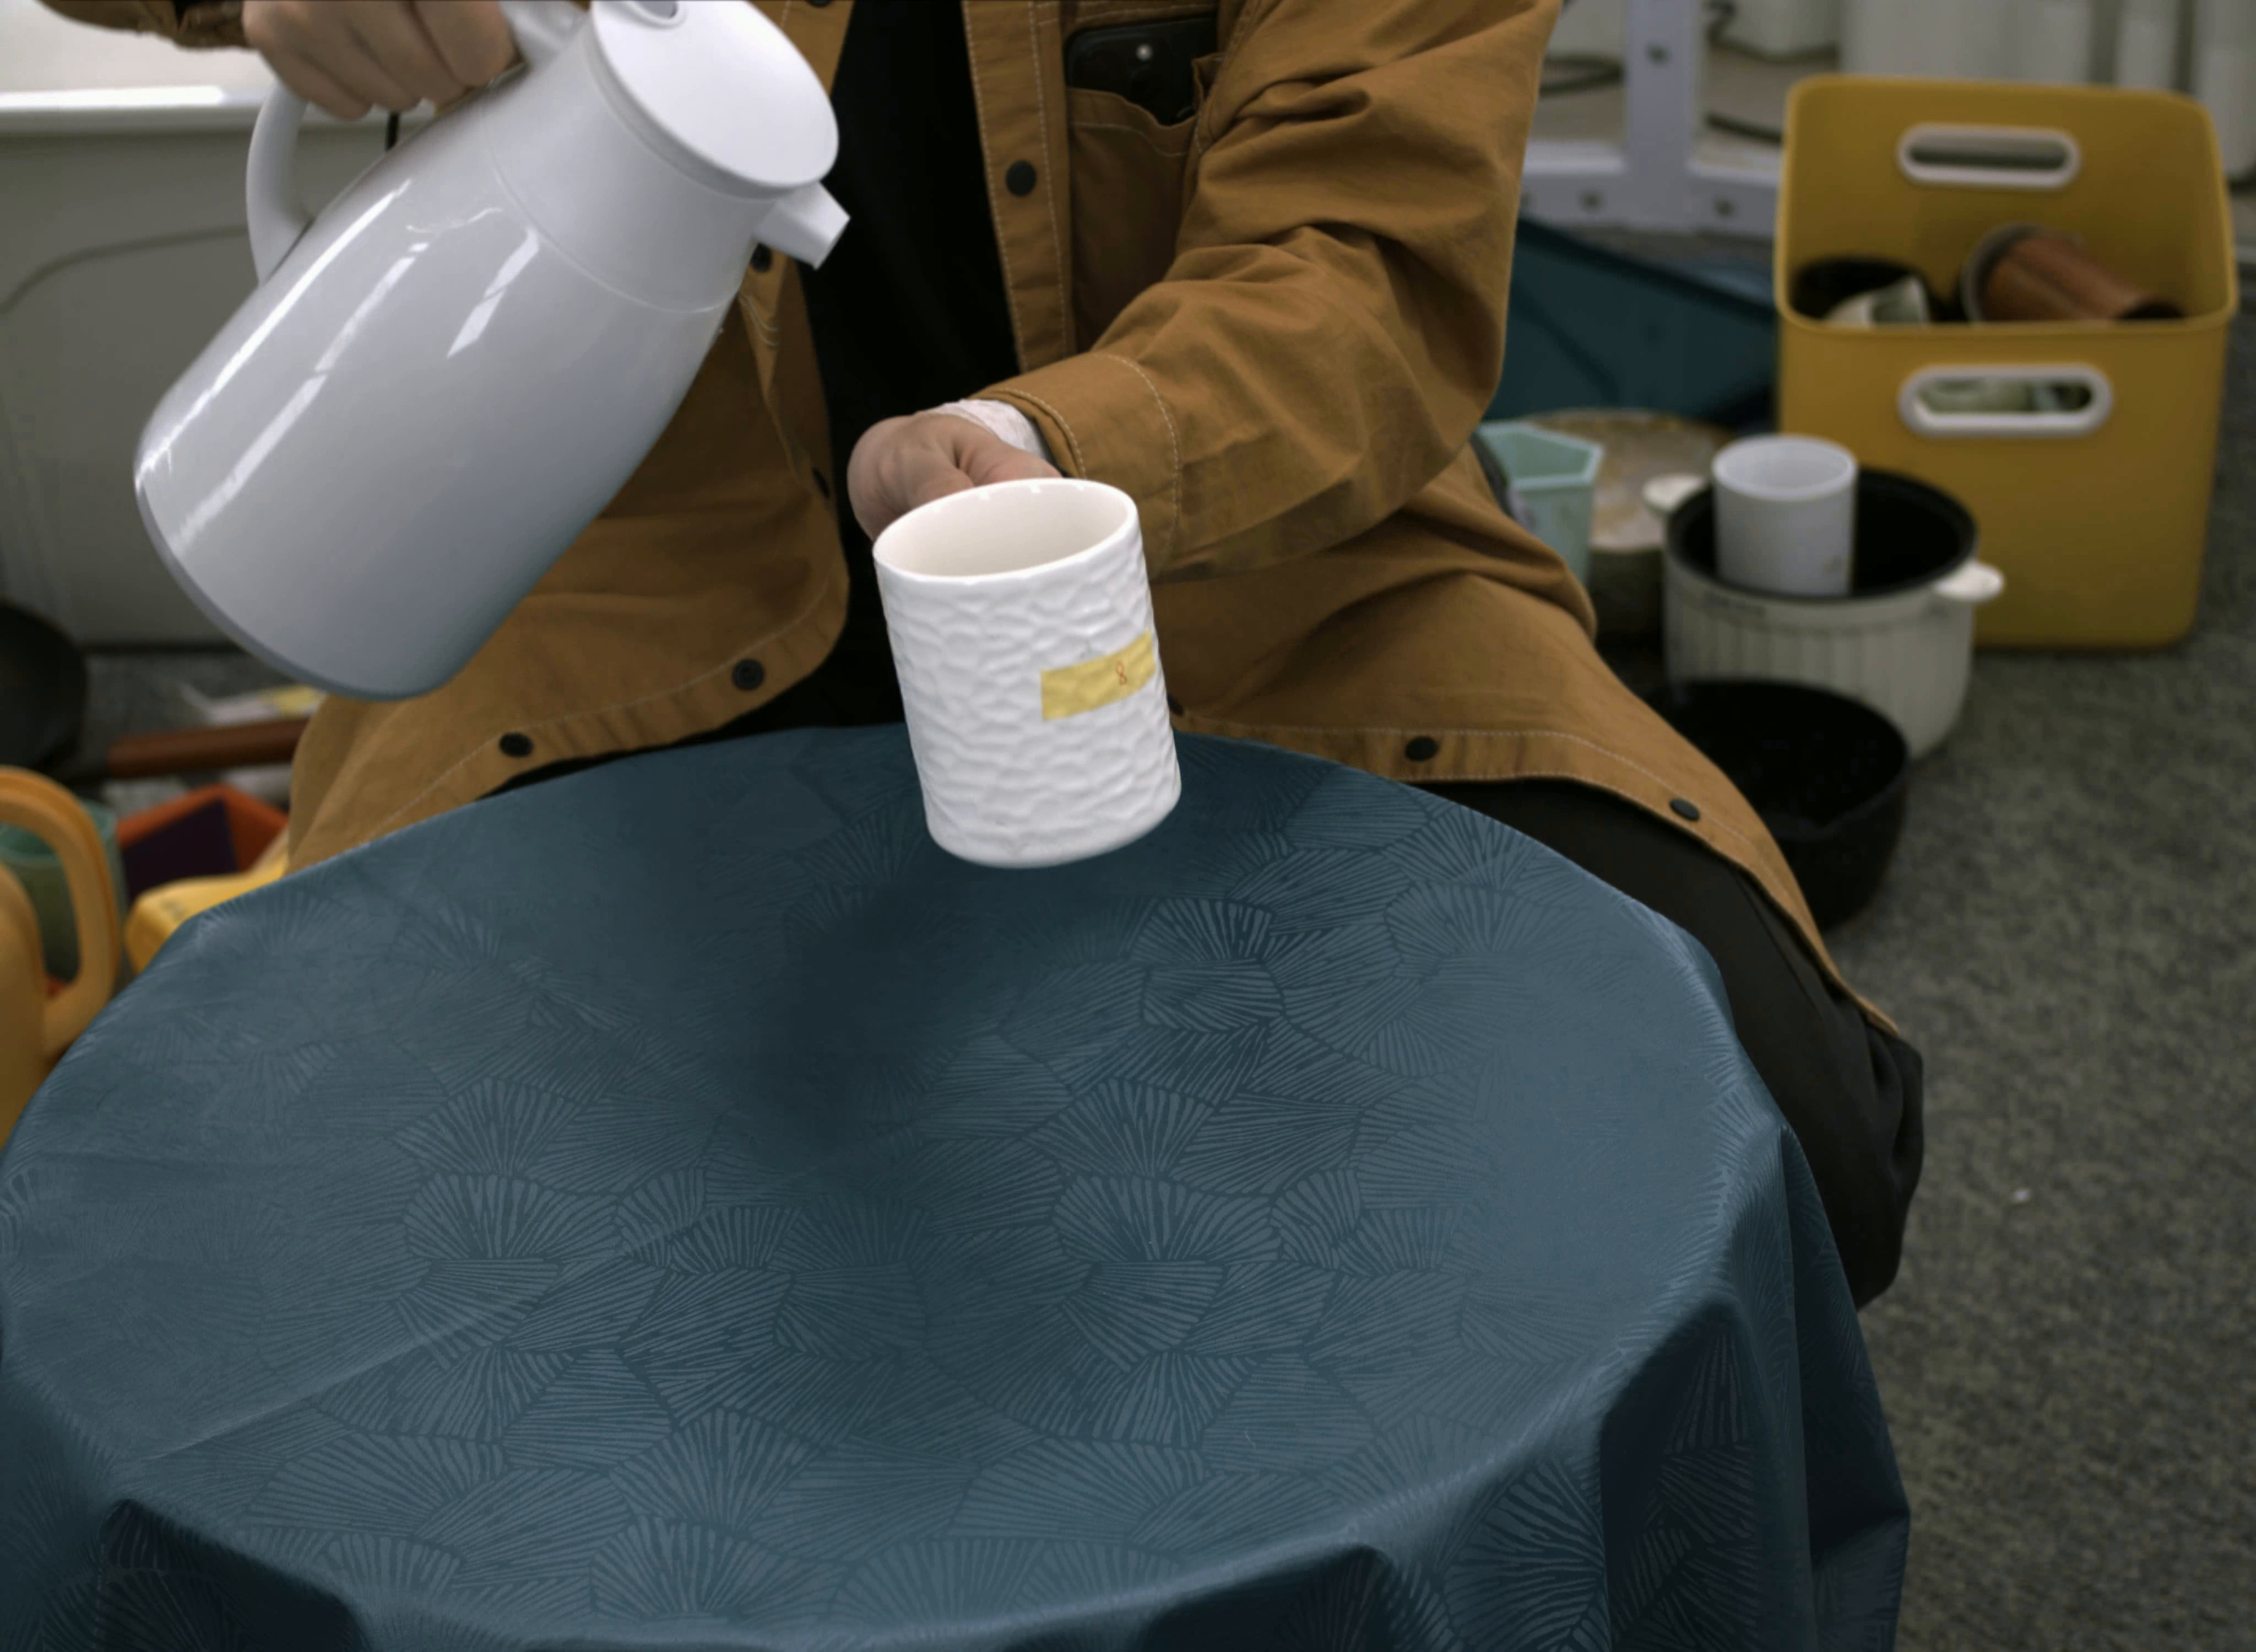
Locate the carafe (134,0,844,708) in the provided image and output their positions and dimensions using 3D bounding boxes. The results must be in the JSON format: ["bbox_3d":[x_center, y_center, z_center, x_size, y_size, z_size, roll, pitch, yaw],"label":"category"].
[{"bbox_3d":[-0.212,-0.175,1.793,0.167,0.244,0.135,39,32,-9],"label":"carafe"}]

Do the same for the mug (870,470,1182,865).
[{"bbox_3d":[-0.037,-0.055,1.805,0.085,0.101,0.119,-17,25,-14],"label":"mug"}]
